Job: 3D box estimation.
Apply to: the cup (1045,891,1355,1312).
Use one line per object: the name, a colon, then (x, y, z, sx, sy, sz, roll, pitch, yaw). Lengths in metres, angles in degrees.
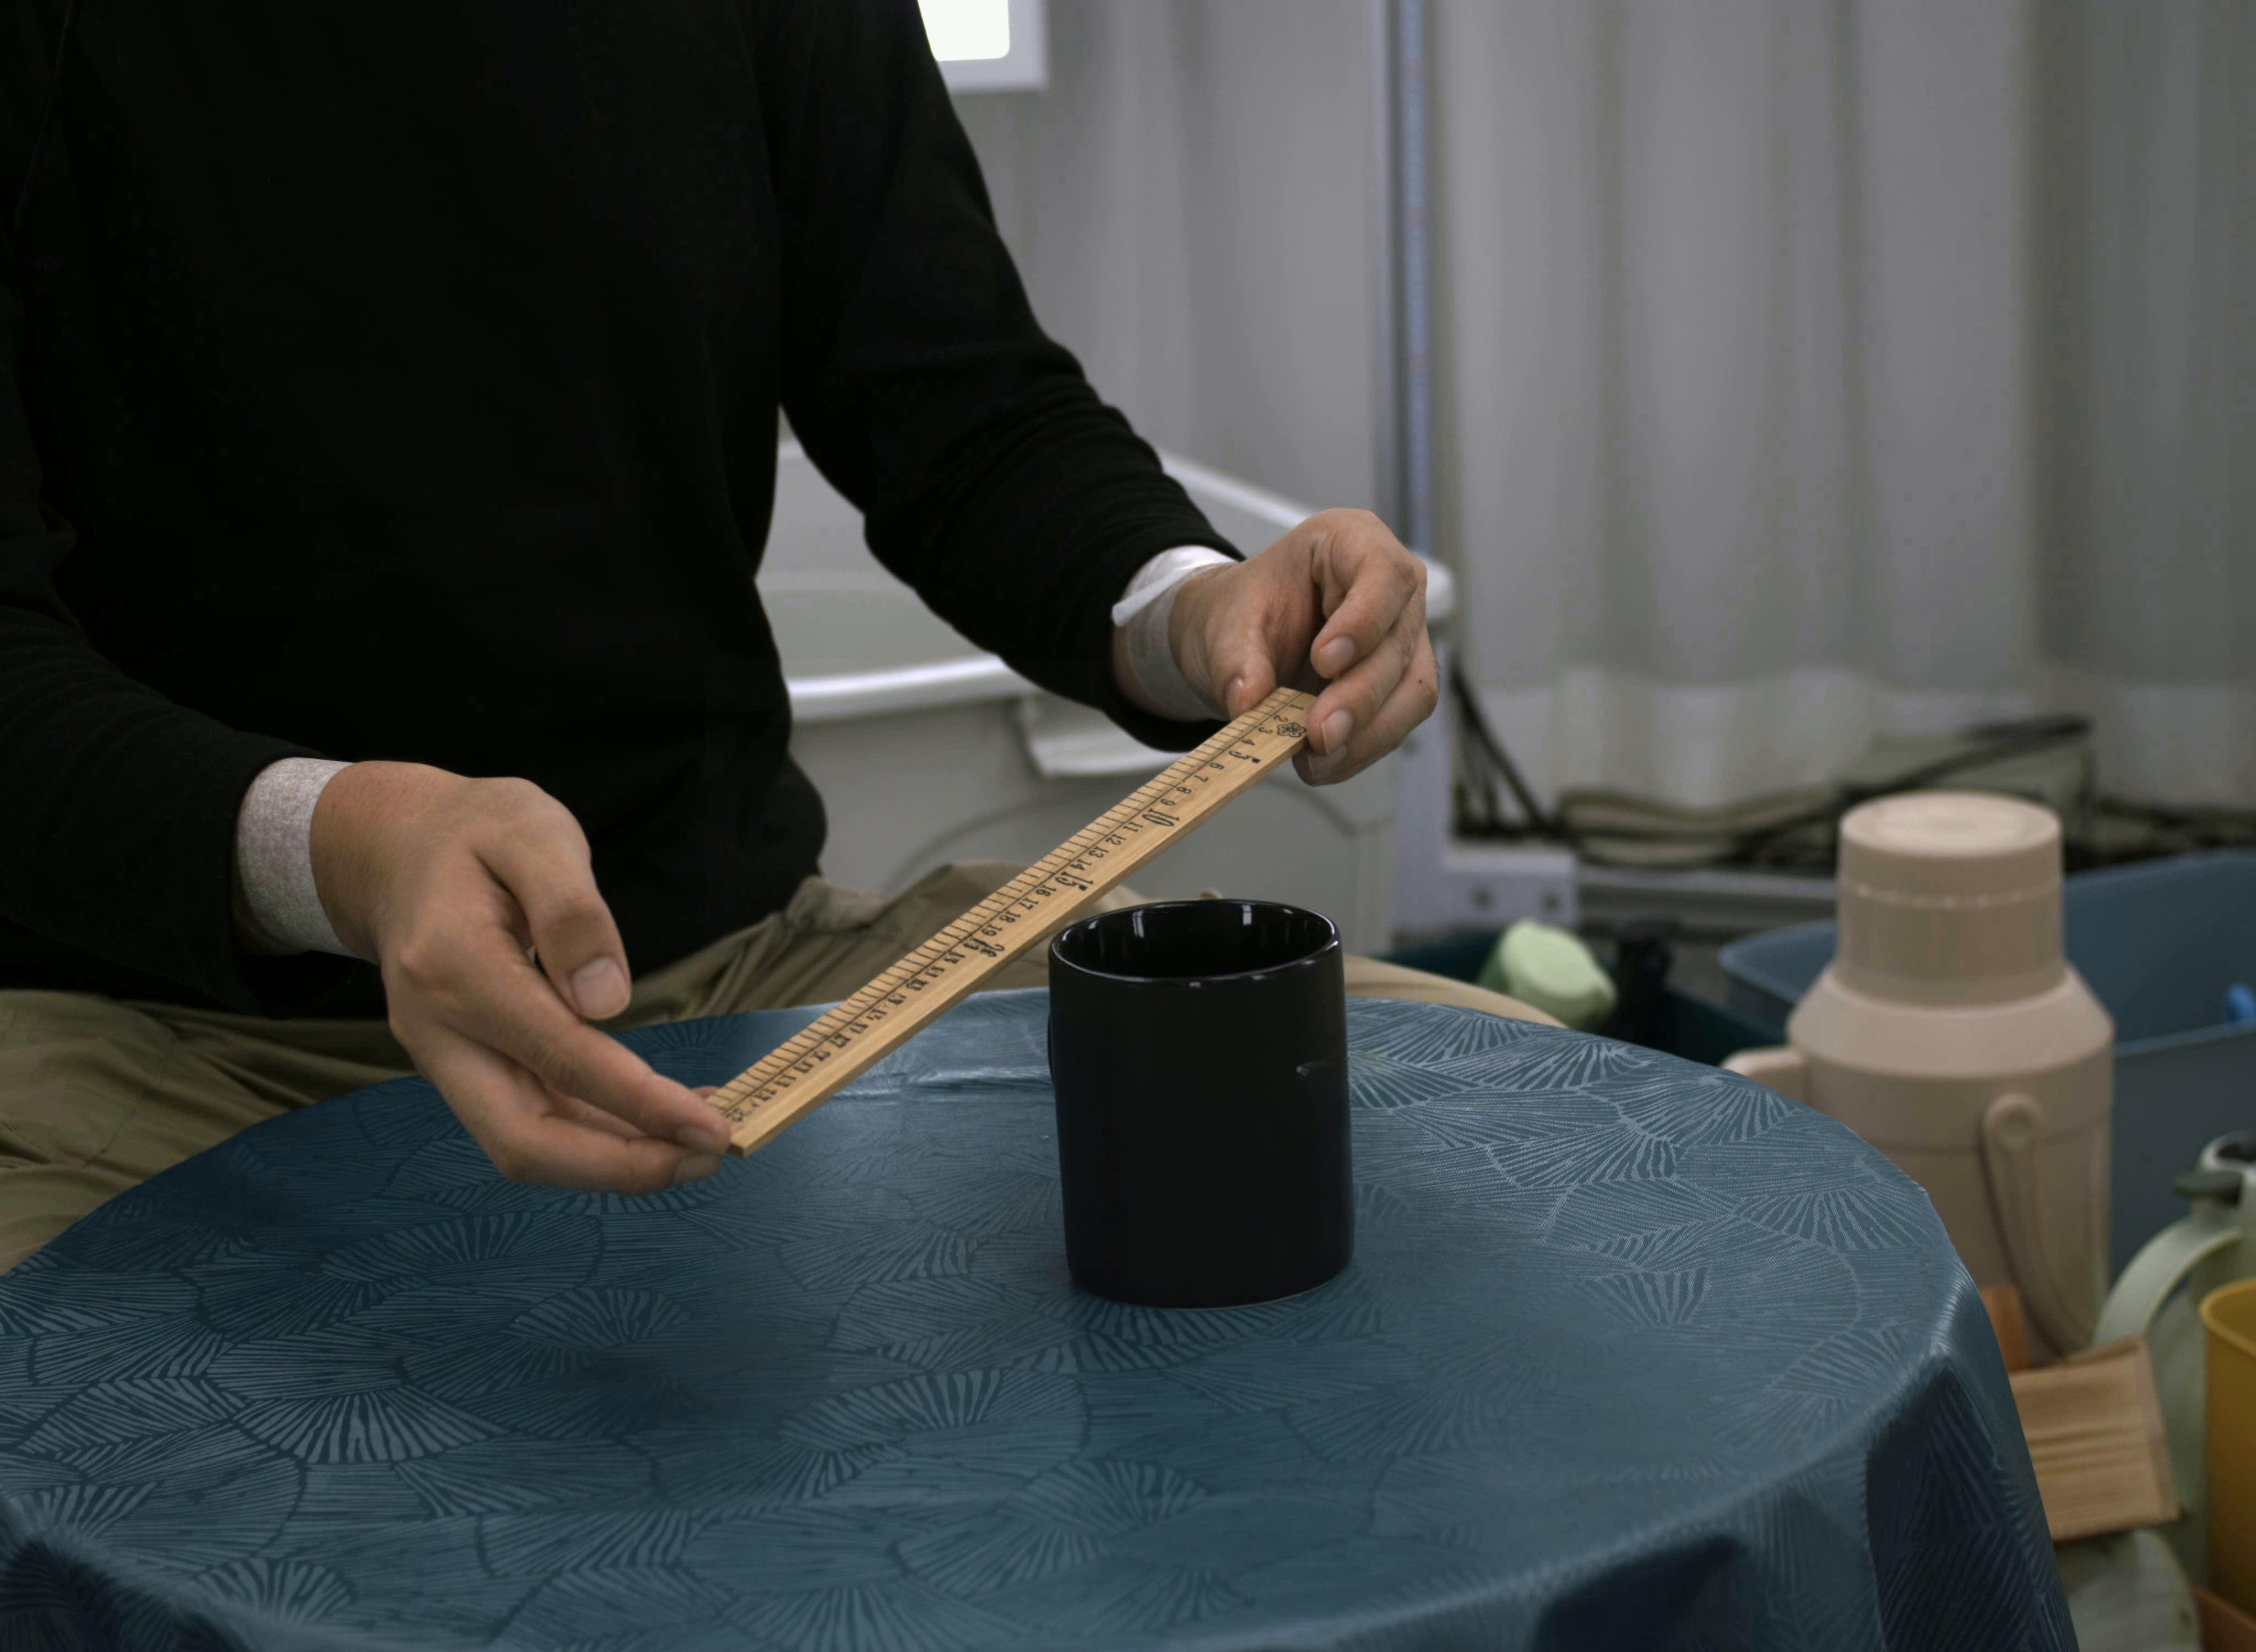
cup: (0.013, 0.078, 1.649, 0.088, 0.105, 0.124, -12, 18, -27)

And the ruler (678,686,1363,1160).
ruler: (-0.025, 0.021, 1.649, 0.027, 0.022, 0.333, 24, 35, 25)
